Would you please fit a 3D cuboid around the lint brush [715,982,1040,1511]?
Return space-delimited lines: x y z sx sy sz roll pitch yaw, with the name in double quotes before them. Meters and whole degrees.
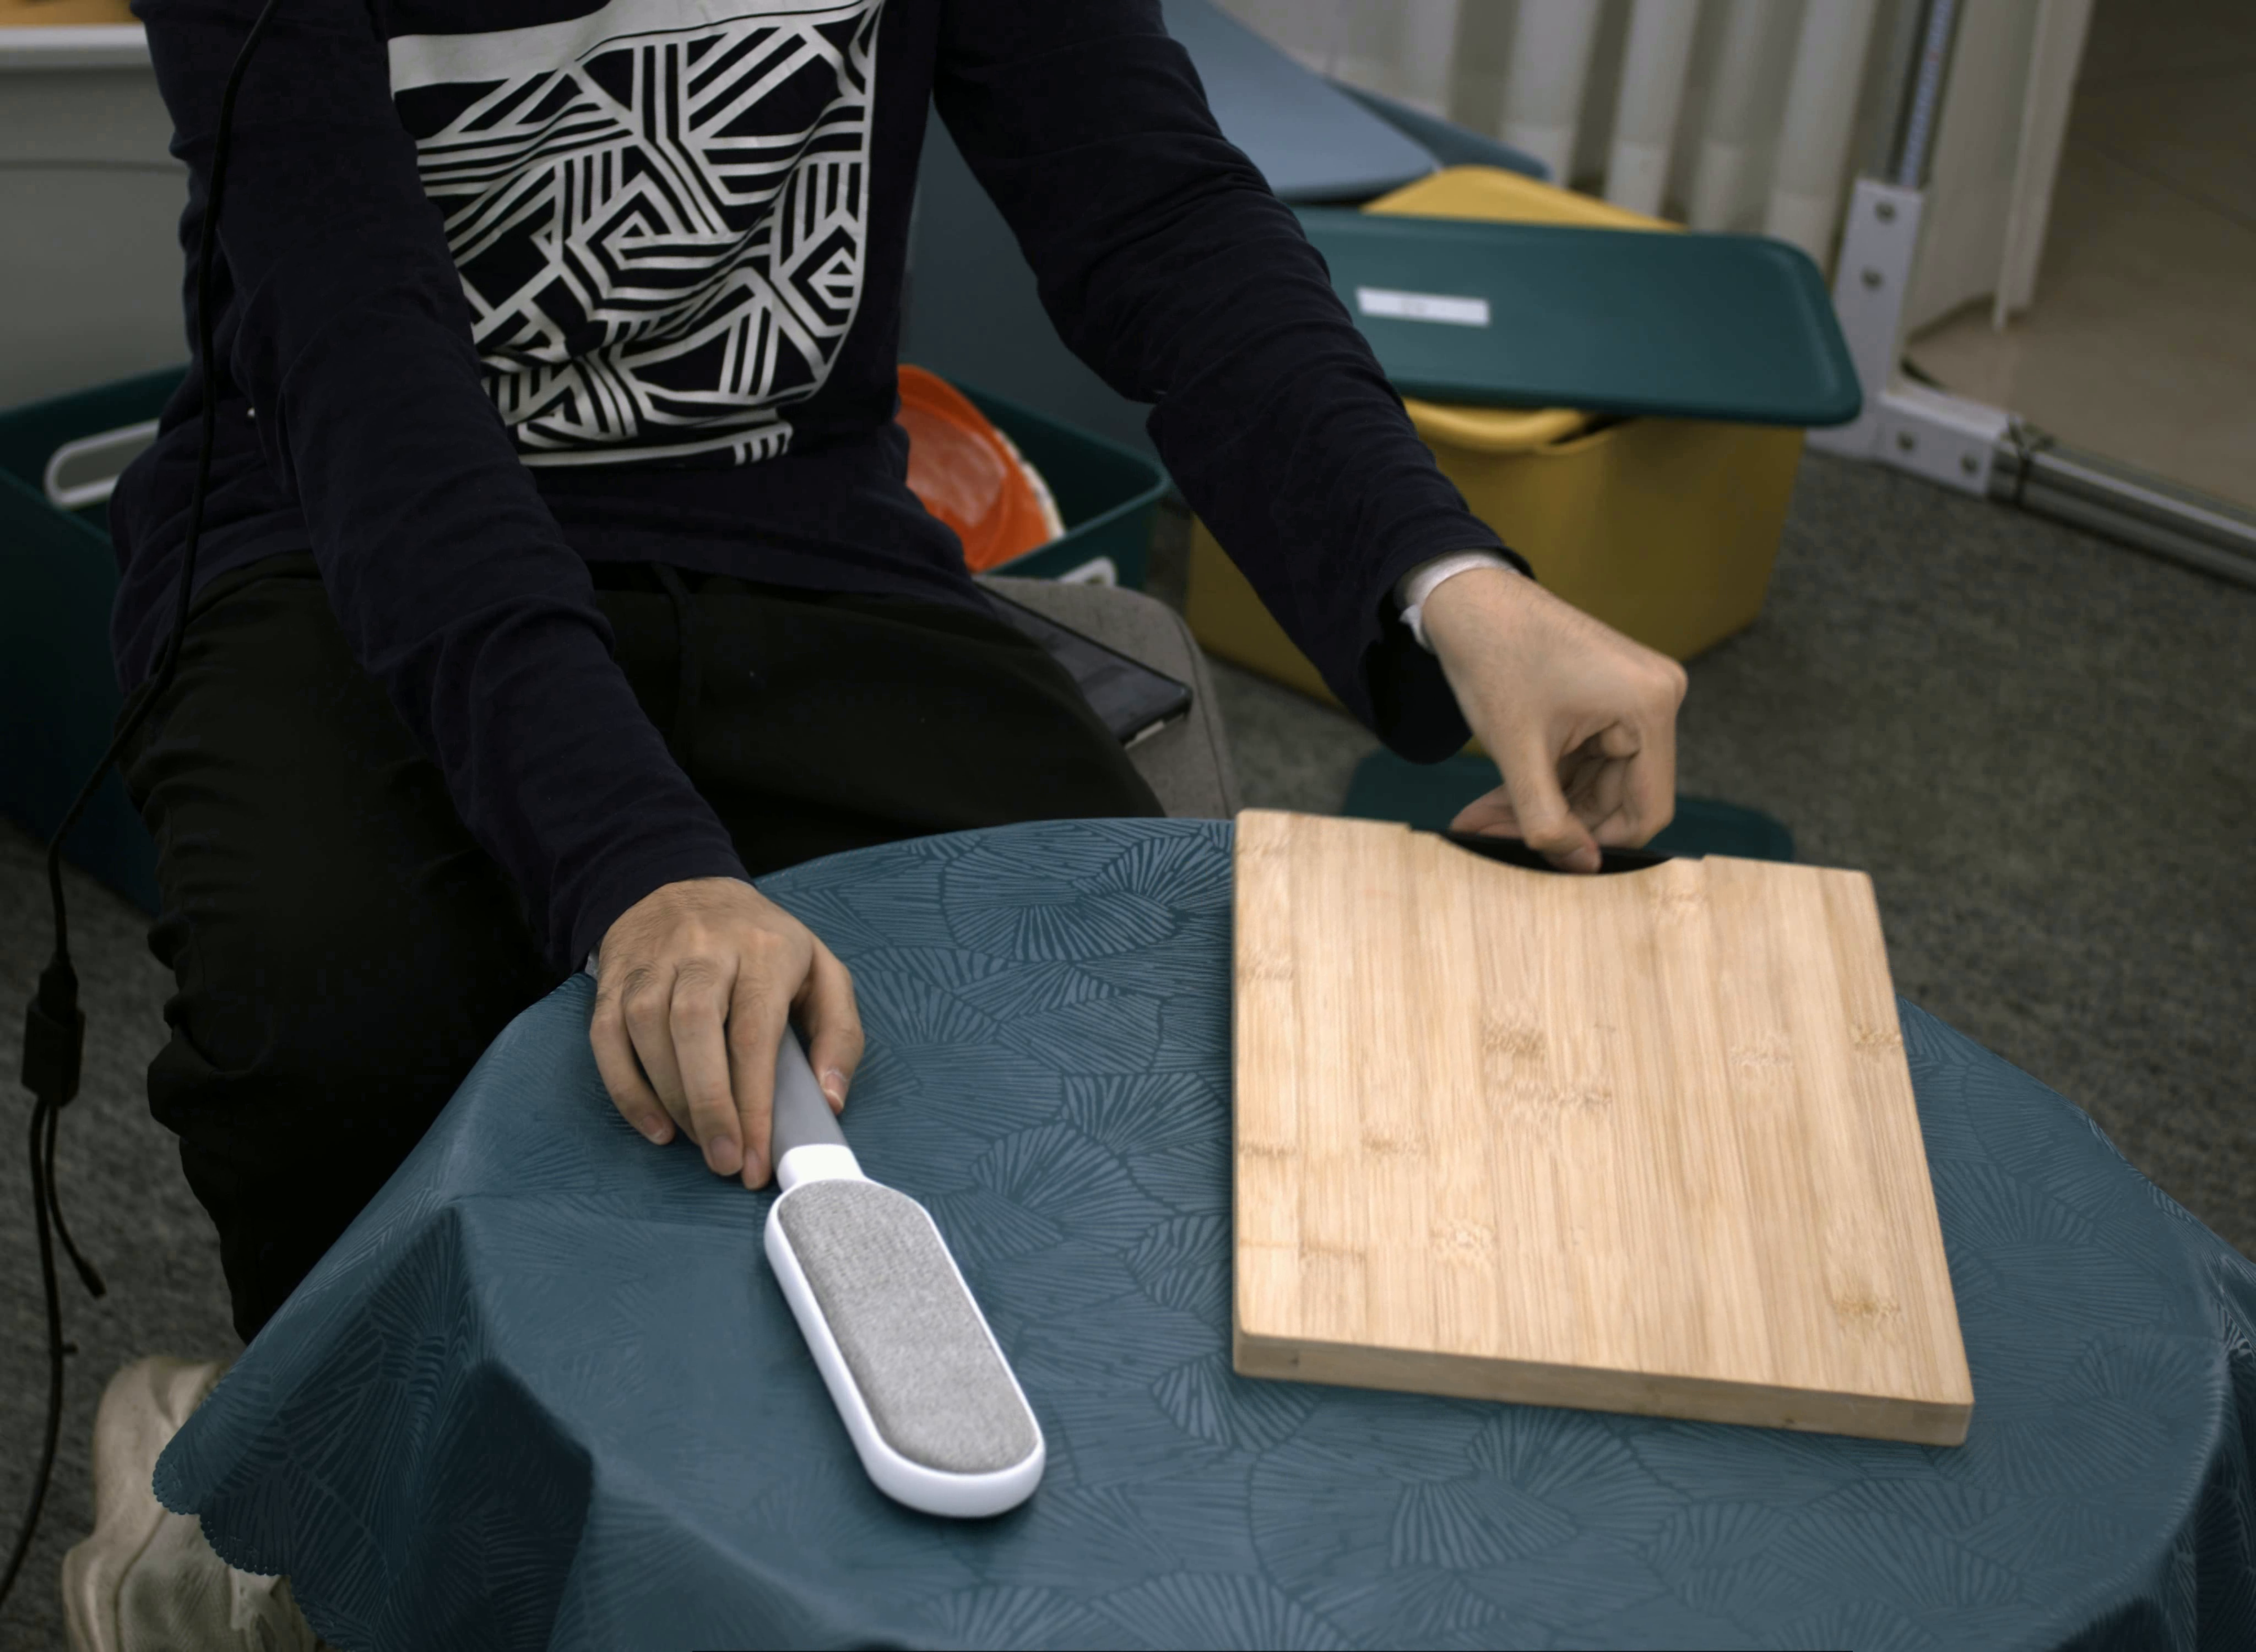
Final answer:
"lint brush" -0.090 0.132 1.739 0.060 0.021 0.311 -6 29 -16

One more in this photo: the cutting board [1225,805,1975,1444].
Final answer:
"cutting board" 0.156 0.097 1.859 0.250 0.023 0.351 6 29 -3
